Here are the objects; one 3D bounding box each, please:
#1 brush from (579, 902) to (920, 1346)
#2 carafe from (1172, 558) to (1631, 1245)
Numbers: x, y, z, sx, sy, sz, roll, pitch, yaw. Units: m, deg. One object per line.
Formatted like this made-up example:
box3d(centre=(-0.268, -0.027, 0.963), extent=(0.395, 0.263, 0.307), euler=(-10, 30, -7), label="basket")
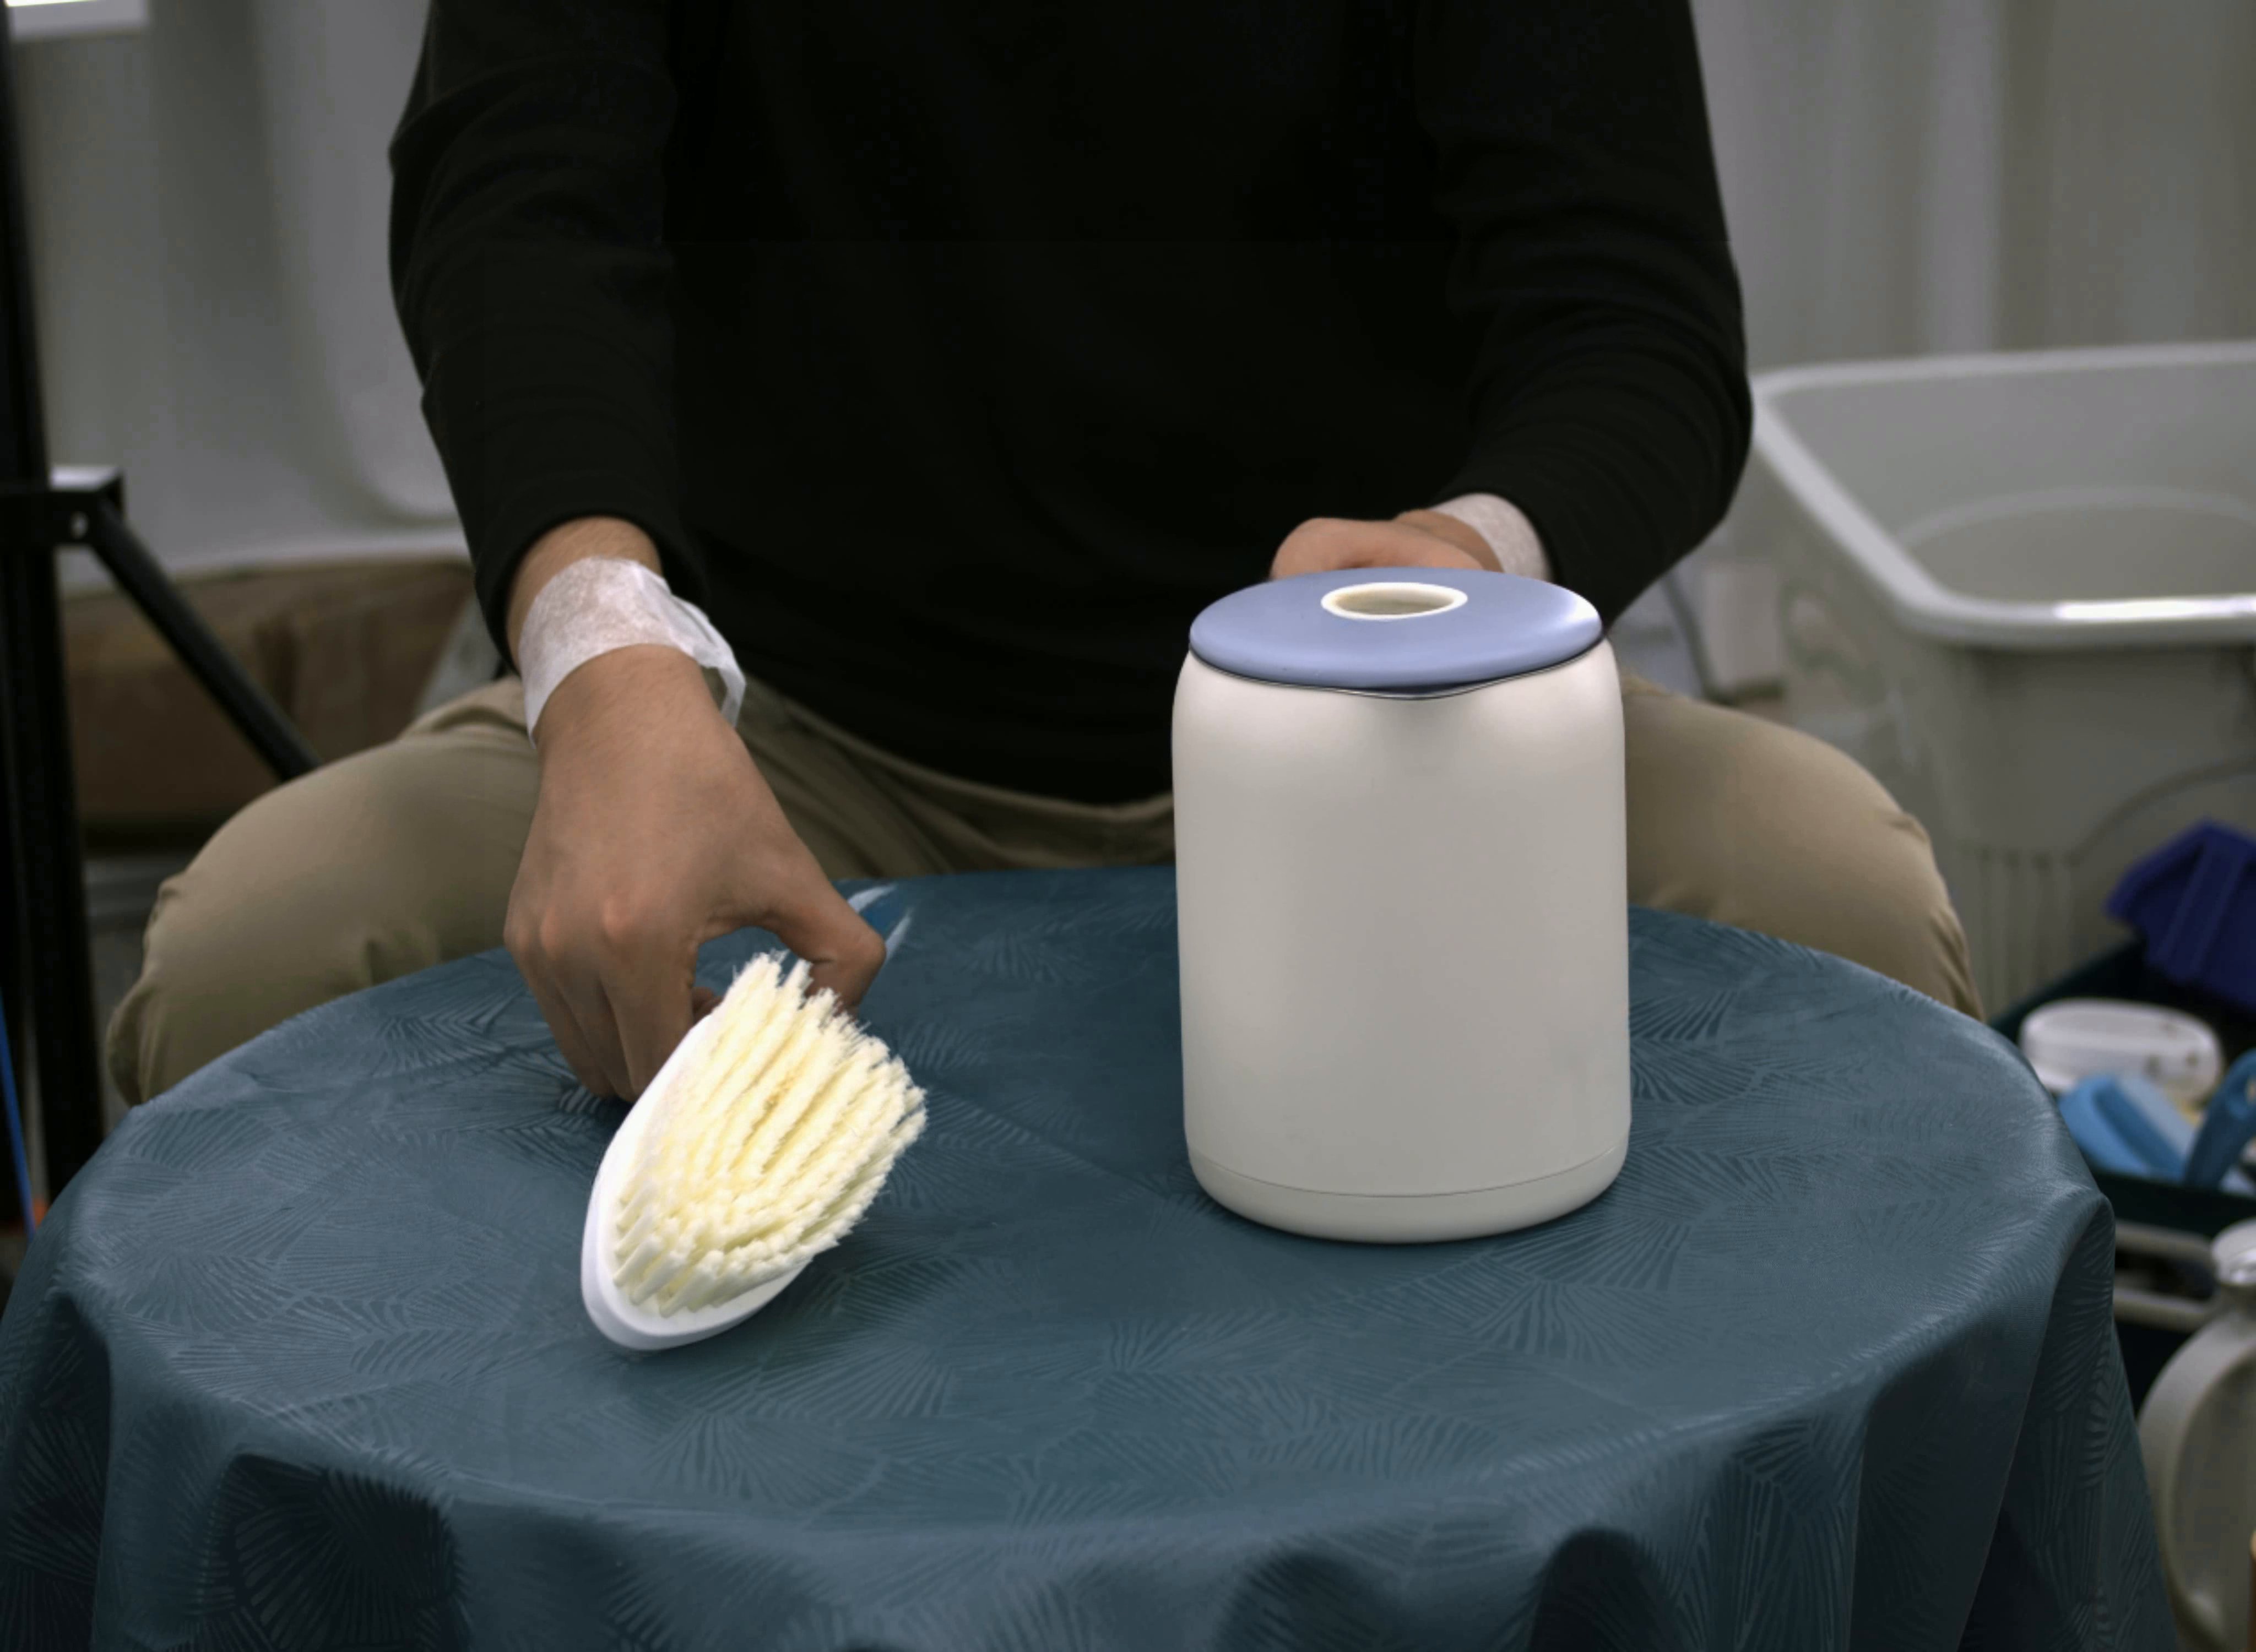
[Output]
box3d(centre=(-0.091, 0.060, 1.581), extent=(0.085, 0.083, 0.324), euler=(-4, 17, 13), label="brush")
box3d(centre=(0.077, 0.015, 1.560), extent=(0.131, 0.182, 0.192), euler=(-3, 14, -4), label="carafe")
